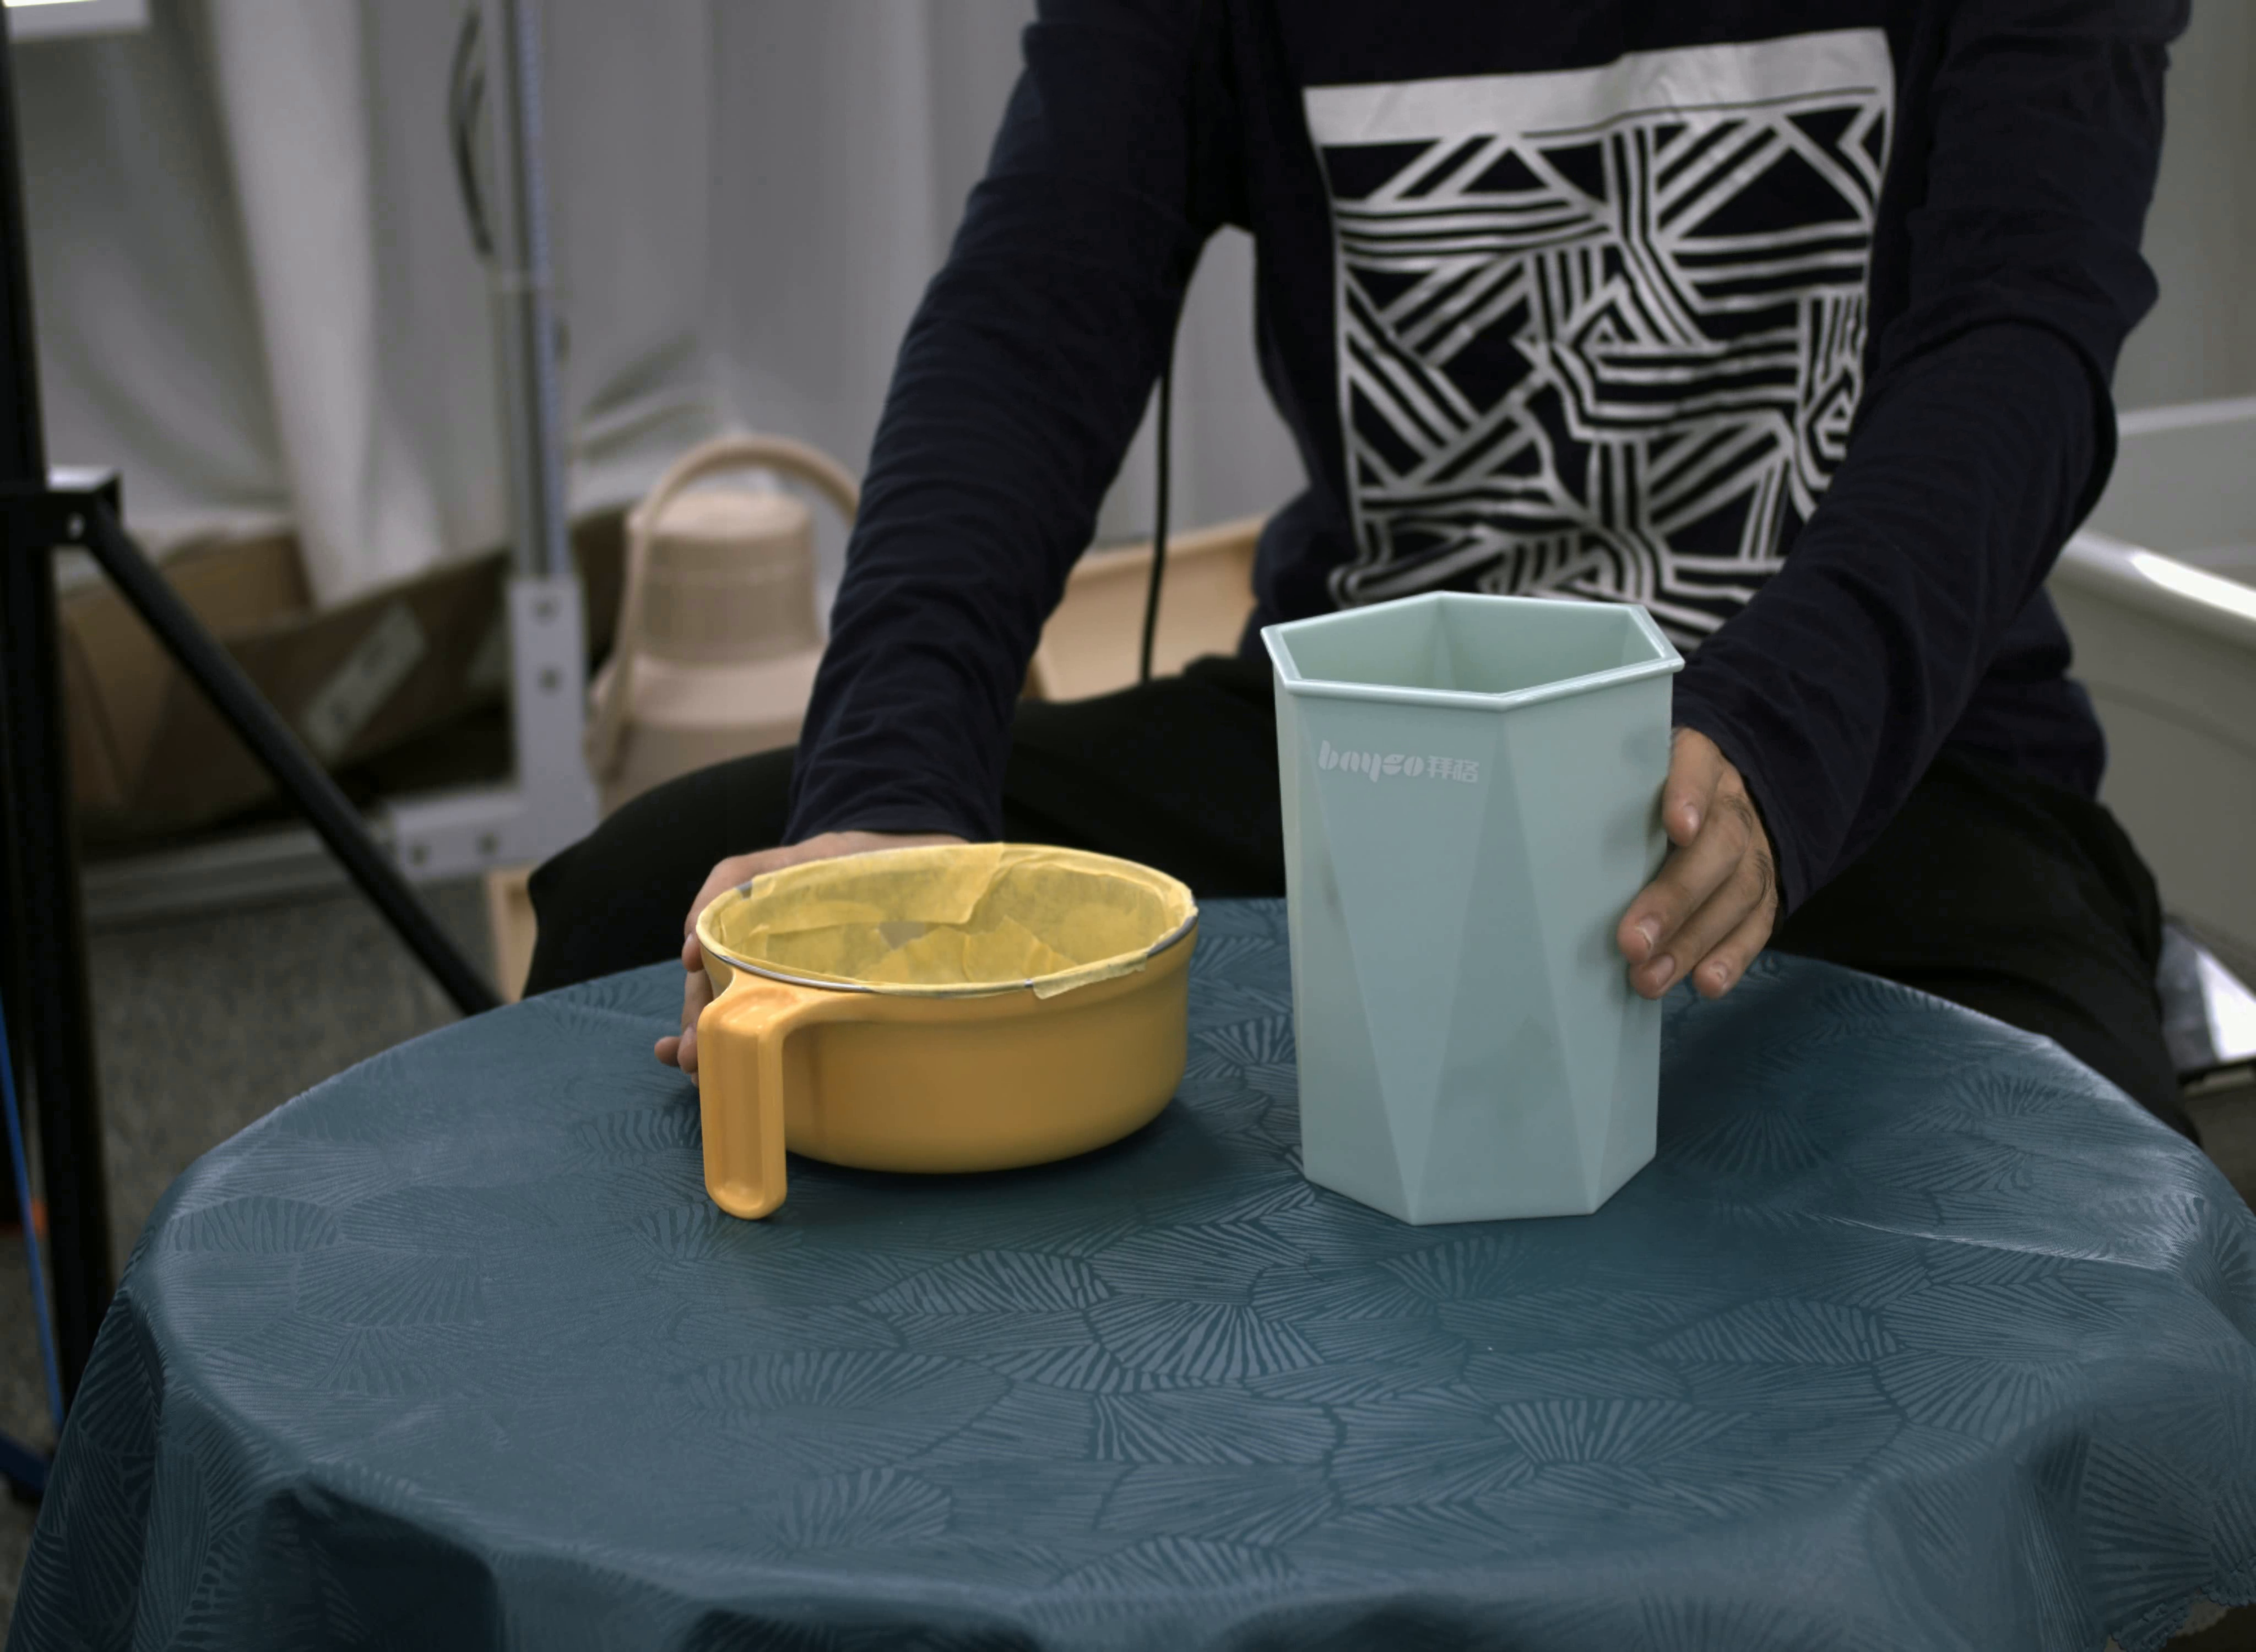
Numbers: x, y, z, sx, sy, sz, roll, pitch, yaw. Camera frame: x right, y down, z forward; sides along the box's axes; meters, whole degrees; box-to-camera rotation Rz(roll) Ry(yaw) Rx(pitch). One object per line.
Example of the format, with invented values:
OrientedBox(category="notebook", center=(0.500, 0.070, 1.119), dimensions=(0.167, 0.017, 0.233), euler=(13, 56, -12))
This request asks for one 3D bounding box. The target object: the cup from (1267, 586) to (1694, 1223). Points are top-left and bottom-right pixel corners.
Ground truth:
OrientedBox(category="cup", center=(0.100, 0.024, 1.545), dimensions=(0.133, 0.163, 0.113), euler=(6, 15, 23))

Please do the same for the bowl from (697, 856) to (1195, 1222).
OrientedBox(category="bowl", center=(-0.062, 0.062, 1.612), dimensions=(0.156, 0.074, 0.175), euler=(8, 16, 33))
